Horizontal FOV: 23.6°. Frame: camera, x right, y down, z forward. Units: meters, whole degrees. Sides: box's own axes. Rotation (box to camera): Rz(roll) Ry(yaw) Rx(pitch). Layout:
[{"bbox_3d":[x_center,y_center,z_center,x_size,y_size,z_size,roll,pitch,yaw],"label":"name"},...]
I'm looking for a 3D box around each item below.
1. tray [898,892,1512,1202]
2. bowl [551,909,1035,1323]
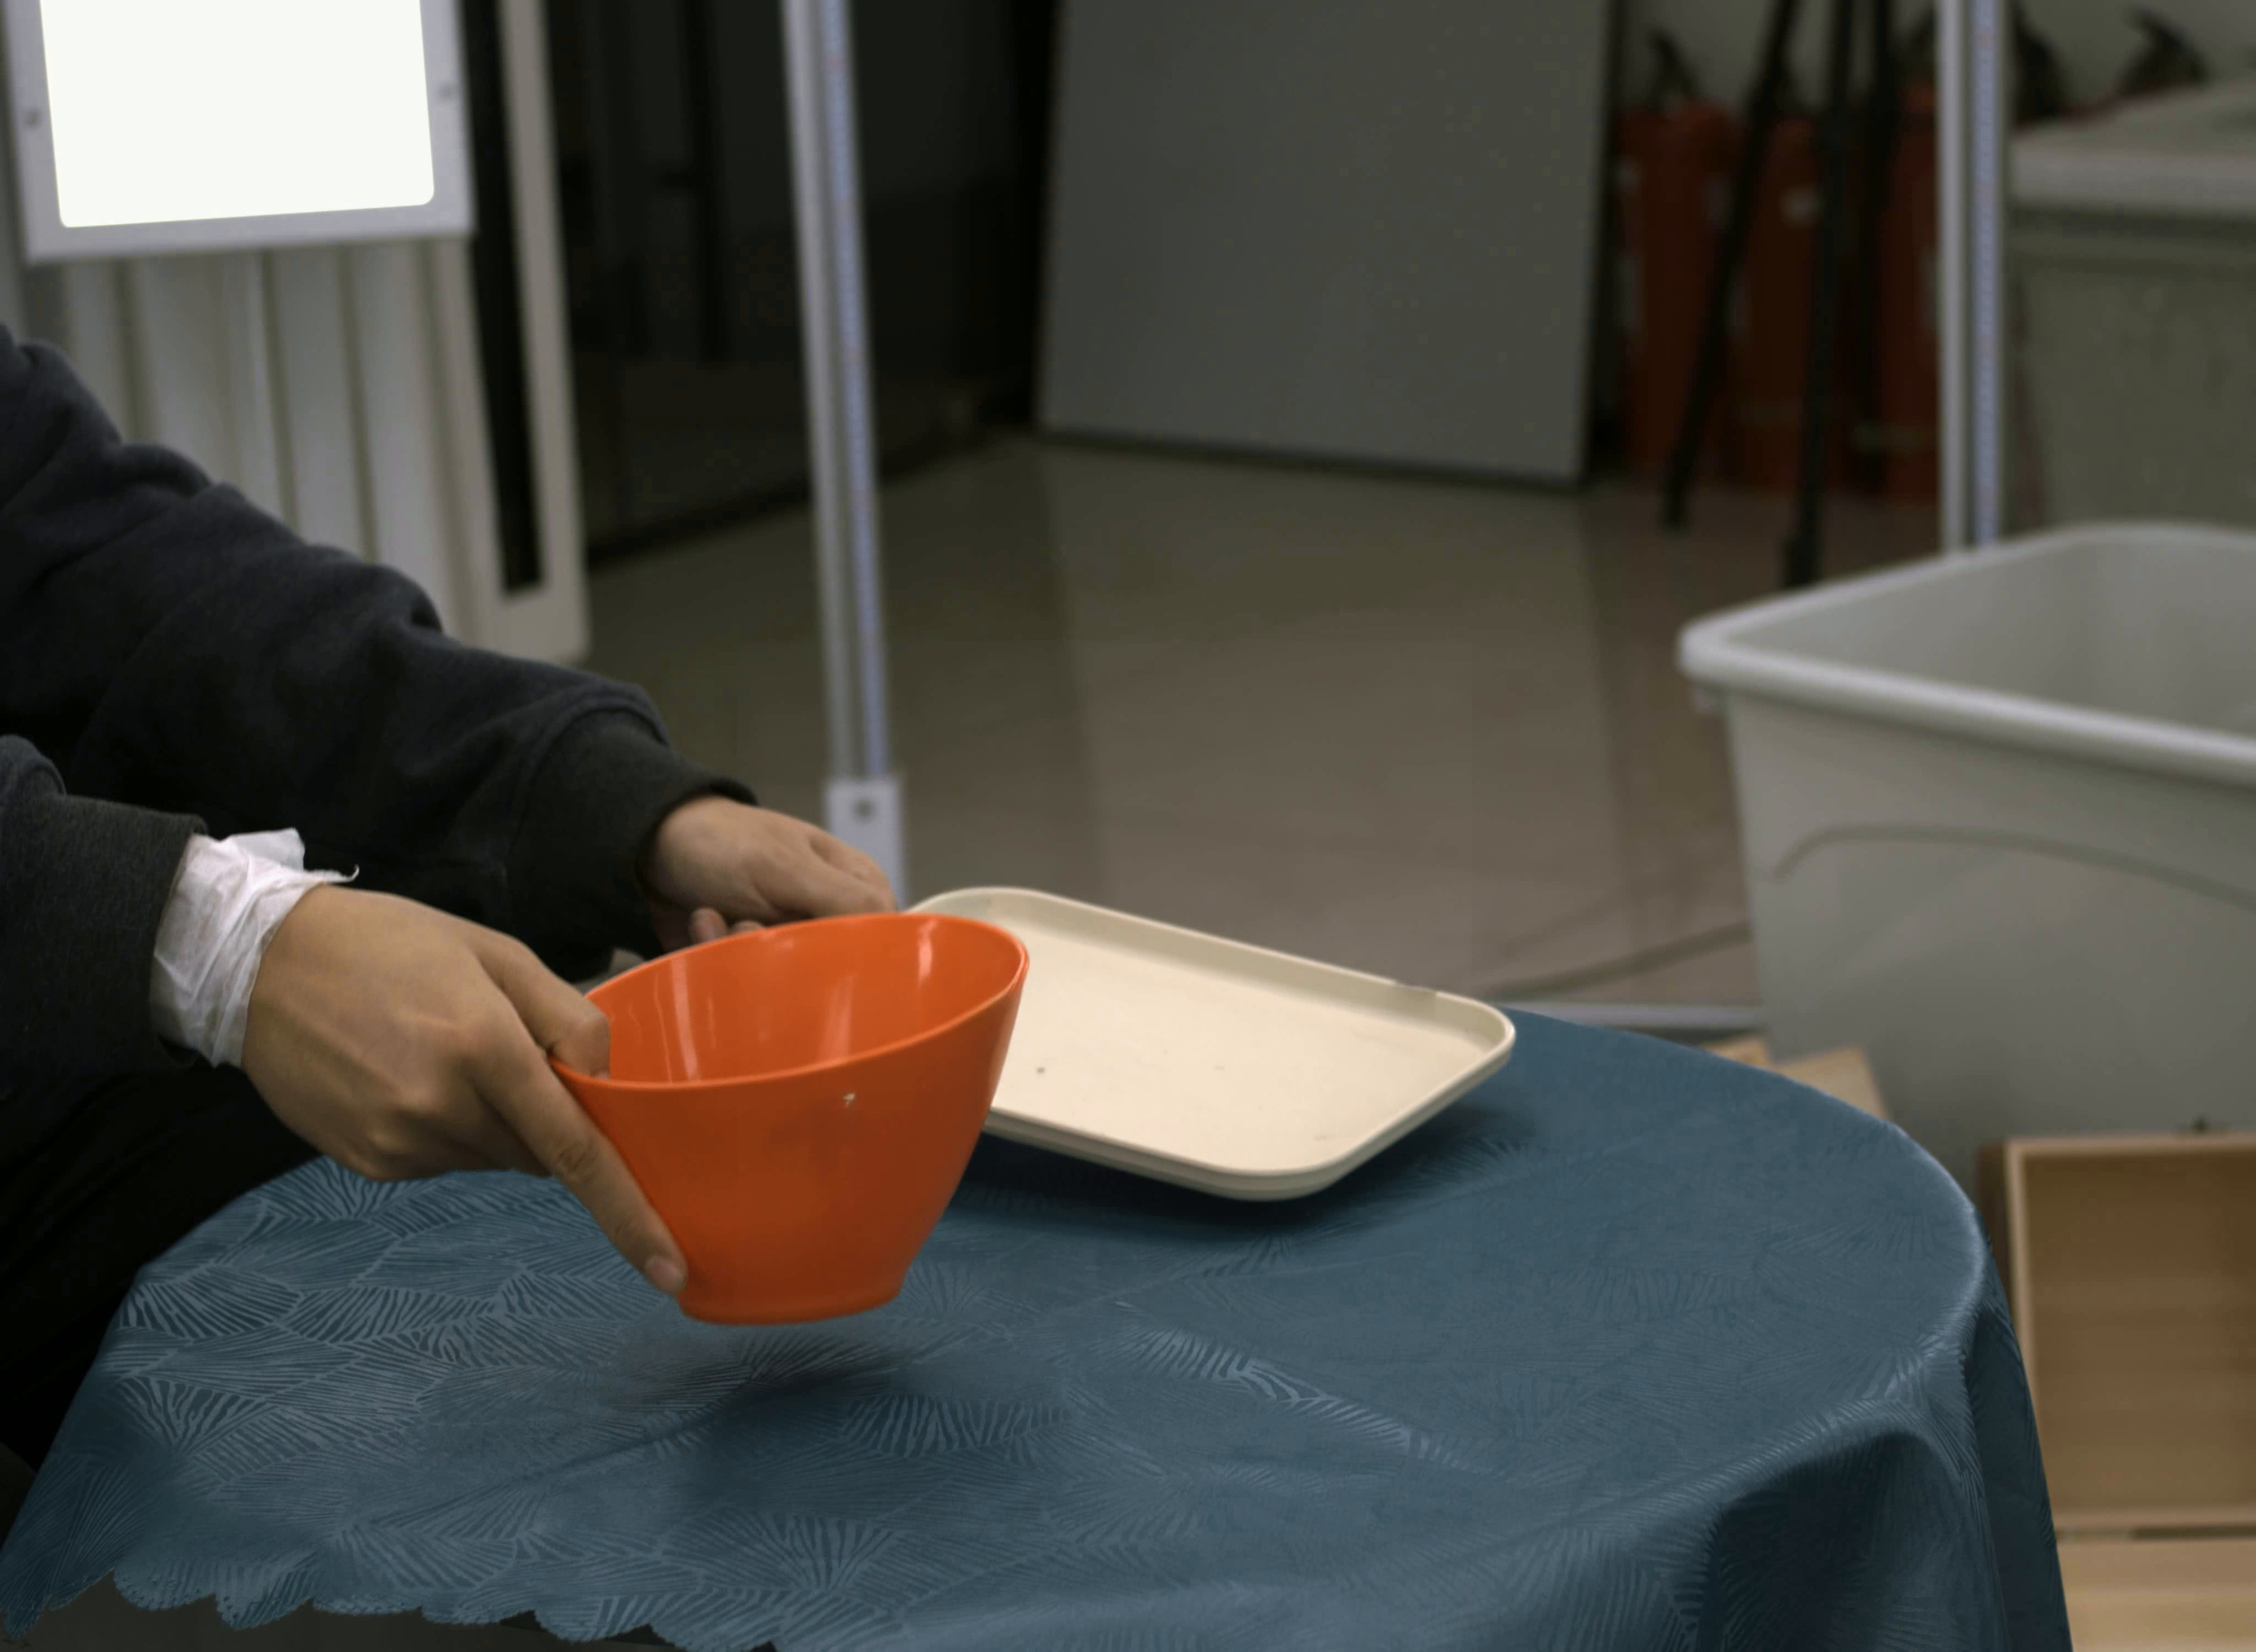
[{"bbox_3d":[-0.002,0.074,1.824,0.241,0.017,0.168,13,24,32],"label":"tray"},{"bbox_3d":[-0.097,0.089,1.619,0.146,0.106,0.148,-5,7,0],"label":"bowl"}]
